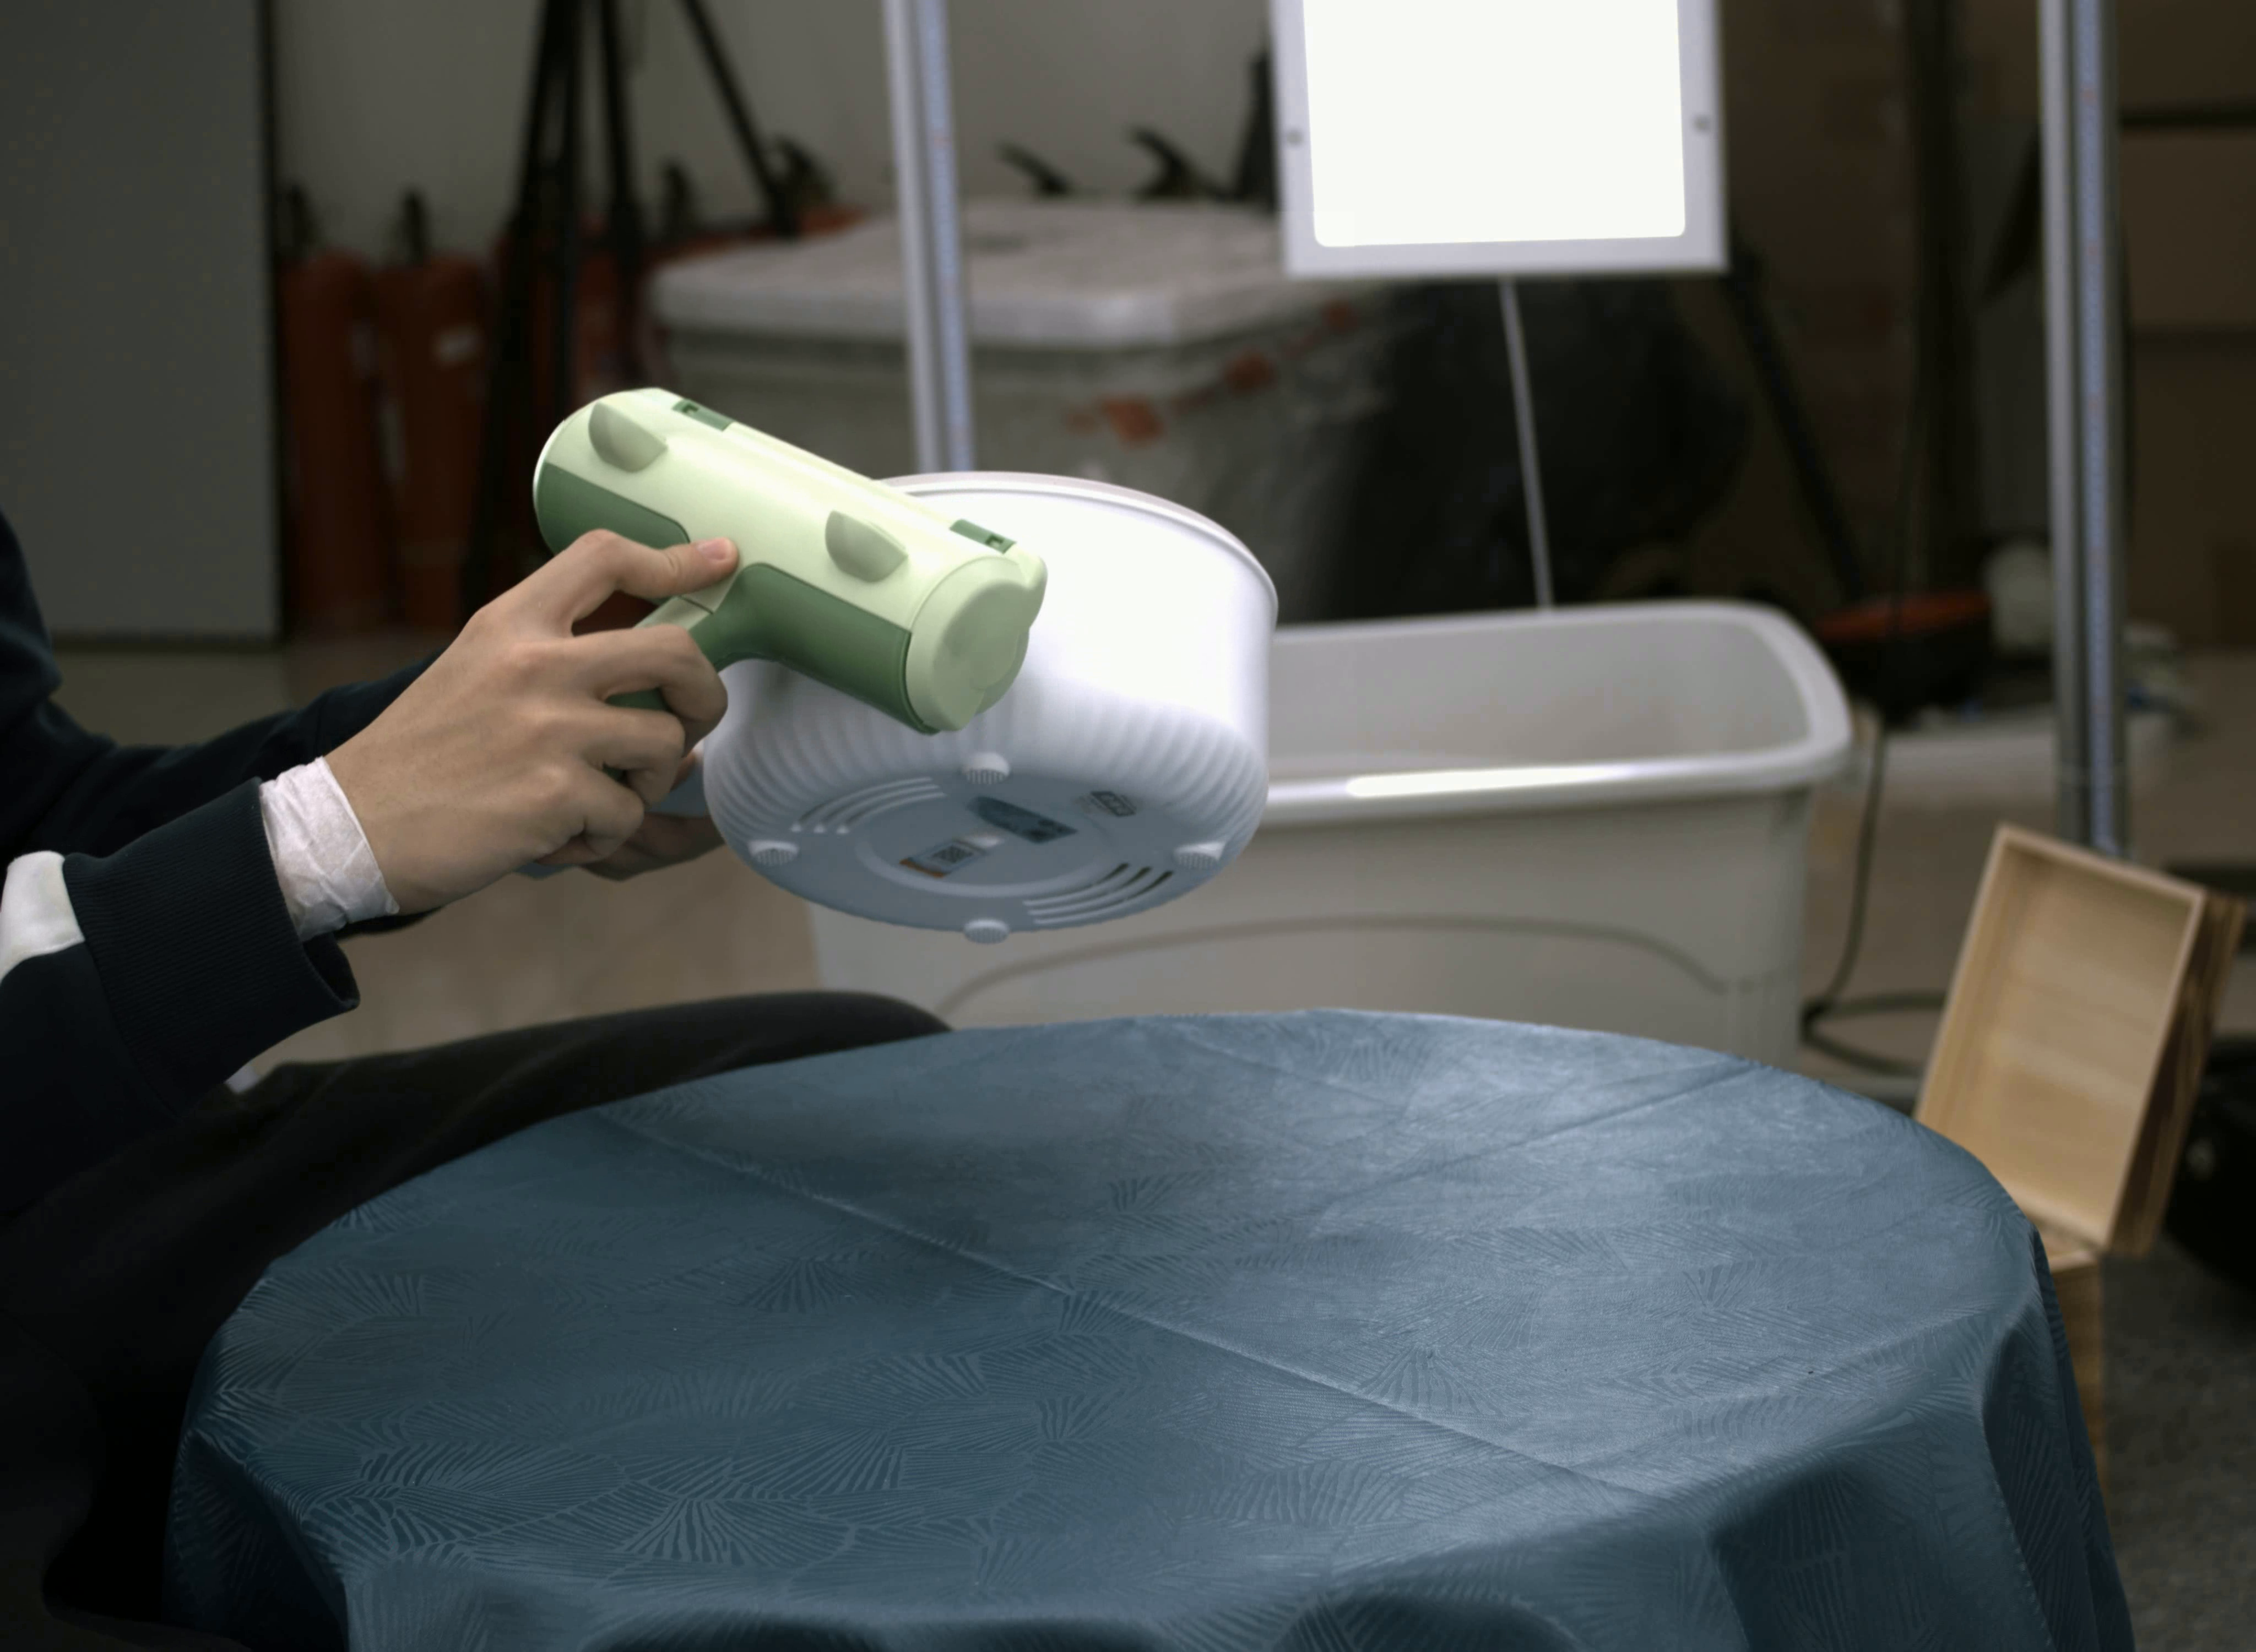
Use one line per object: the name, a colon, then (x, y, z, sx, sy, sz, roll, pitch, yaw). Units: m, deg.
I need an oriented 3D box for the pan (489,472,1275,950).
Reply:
pan: (-0.103, -0.012, 1.944, 0.197, 0.102, 0.363, 21, -30, -39)

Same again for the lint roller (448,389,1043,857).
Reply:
lint roller: (-0.154, -0.067, 1.769, 0.180, 0.082, 0.202, -37, 44, -28)
